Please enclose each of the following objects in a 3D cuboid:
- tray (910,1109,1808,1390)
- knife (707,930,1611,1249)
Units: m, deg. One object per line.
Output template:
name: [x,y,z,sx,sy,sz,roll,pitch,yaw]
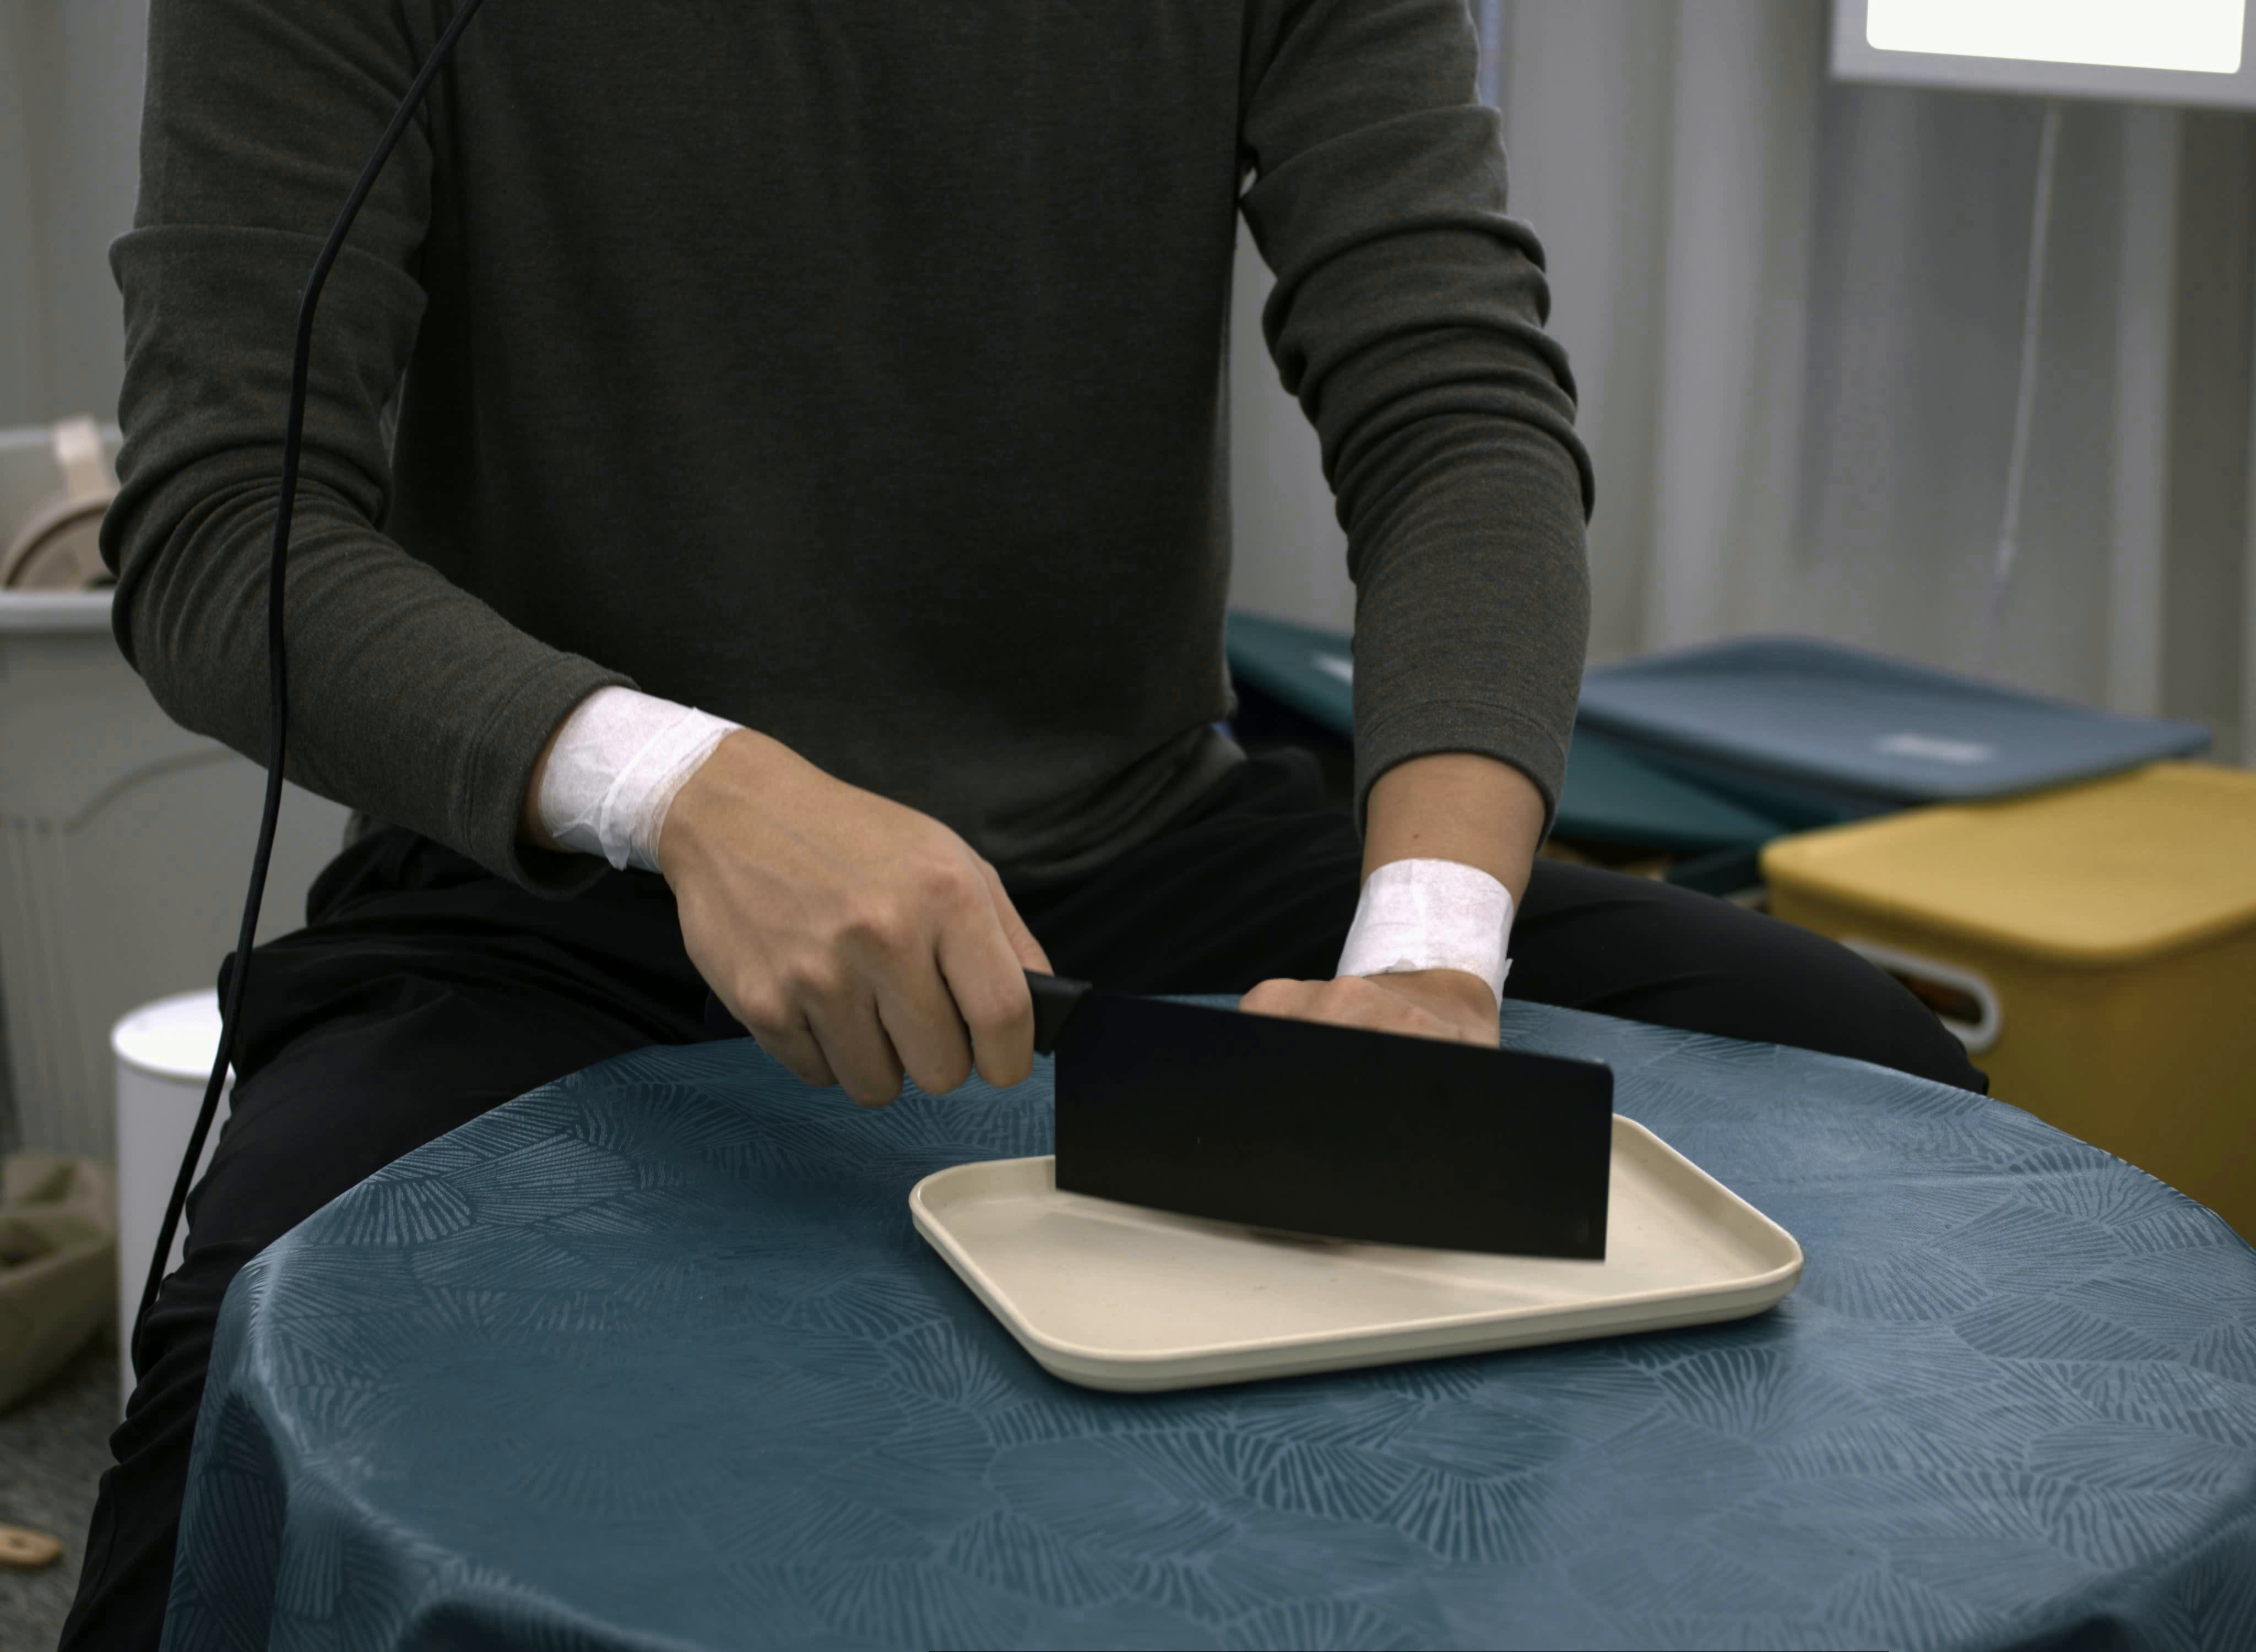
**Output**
tray: [0.066,0.124,1.553,0.240,0.017,0.169,-5,16,-19]
knife: [0.006,0.075,1.575,0.299,0.081,0.021,12,16,24]
